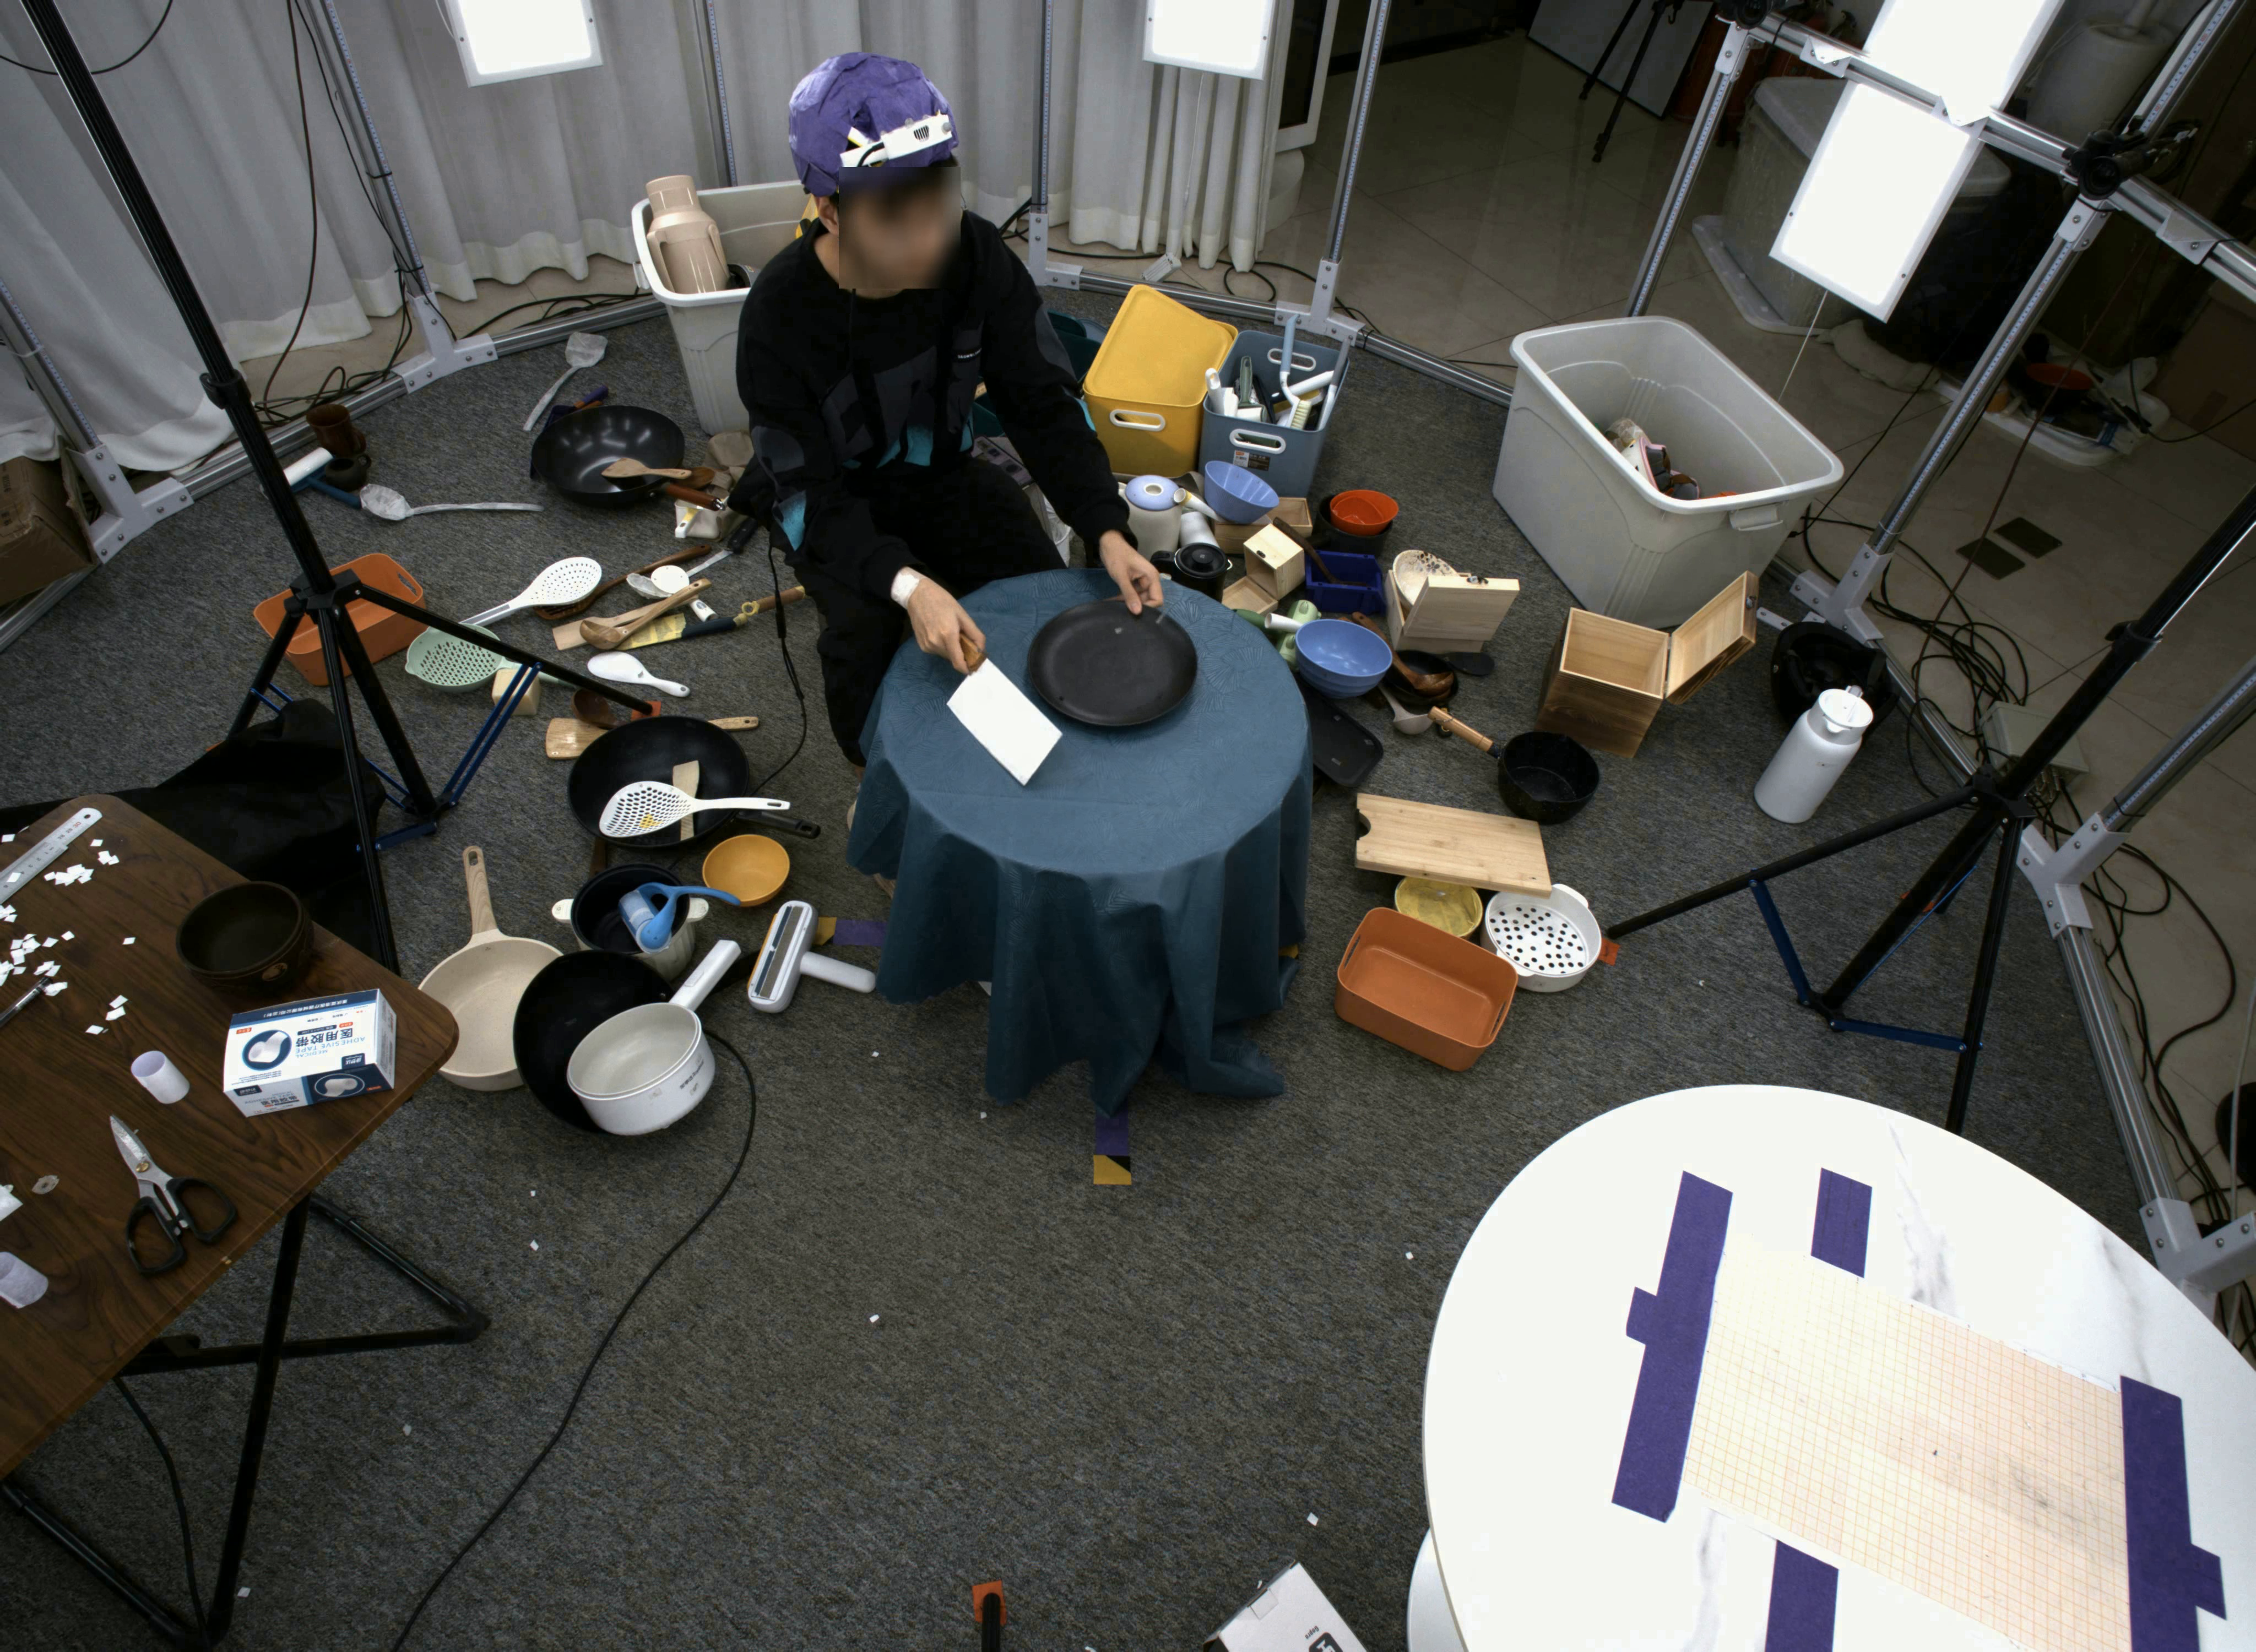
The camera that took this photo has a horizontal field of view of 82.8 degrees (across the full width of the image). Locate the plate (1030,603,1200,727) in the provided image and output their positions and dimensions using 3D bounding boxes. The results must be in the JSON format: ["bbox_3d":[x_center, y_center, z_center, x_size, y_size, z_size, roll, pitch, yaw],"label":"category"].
[{"bbox_3d":[-0.018,-0.229,1.843,0.244,0.023,0.250,1,52,-1],"label":"plate"}]

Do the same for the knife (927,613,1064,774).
[{"bbox_3d":[-0.199,-0.182,1.769,0.092,0.021,0.311,-52,58,12],"label":"knife"}]
